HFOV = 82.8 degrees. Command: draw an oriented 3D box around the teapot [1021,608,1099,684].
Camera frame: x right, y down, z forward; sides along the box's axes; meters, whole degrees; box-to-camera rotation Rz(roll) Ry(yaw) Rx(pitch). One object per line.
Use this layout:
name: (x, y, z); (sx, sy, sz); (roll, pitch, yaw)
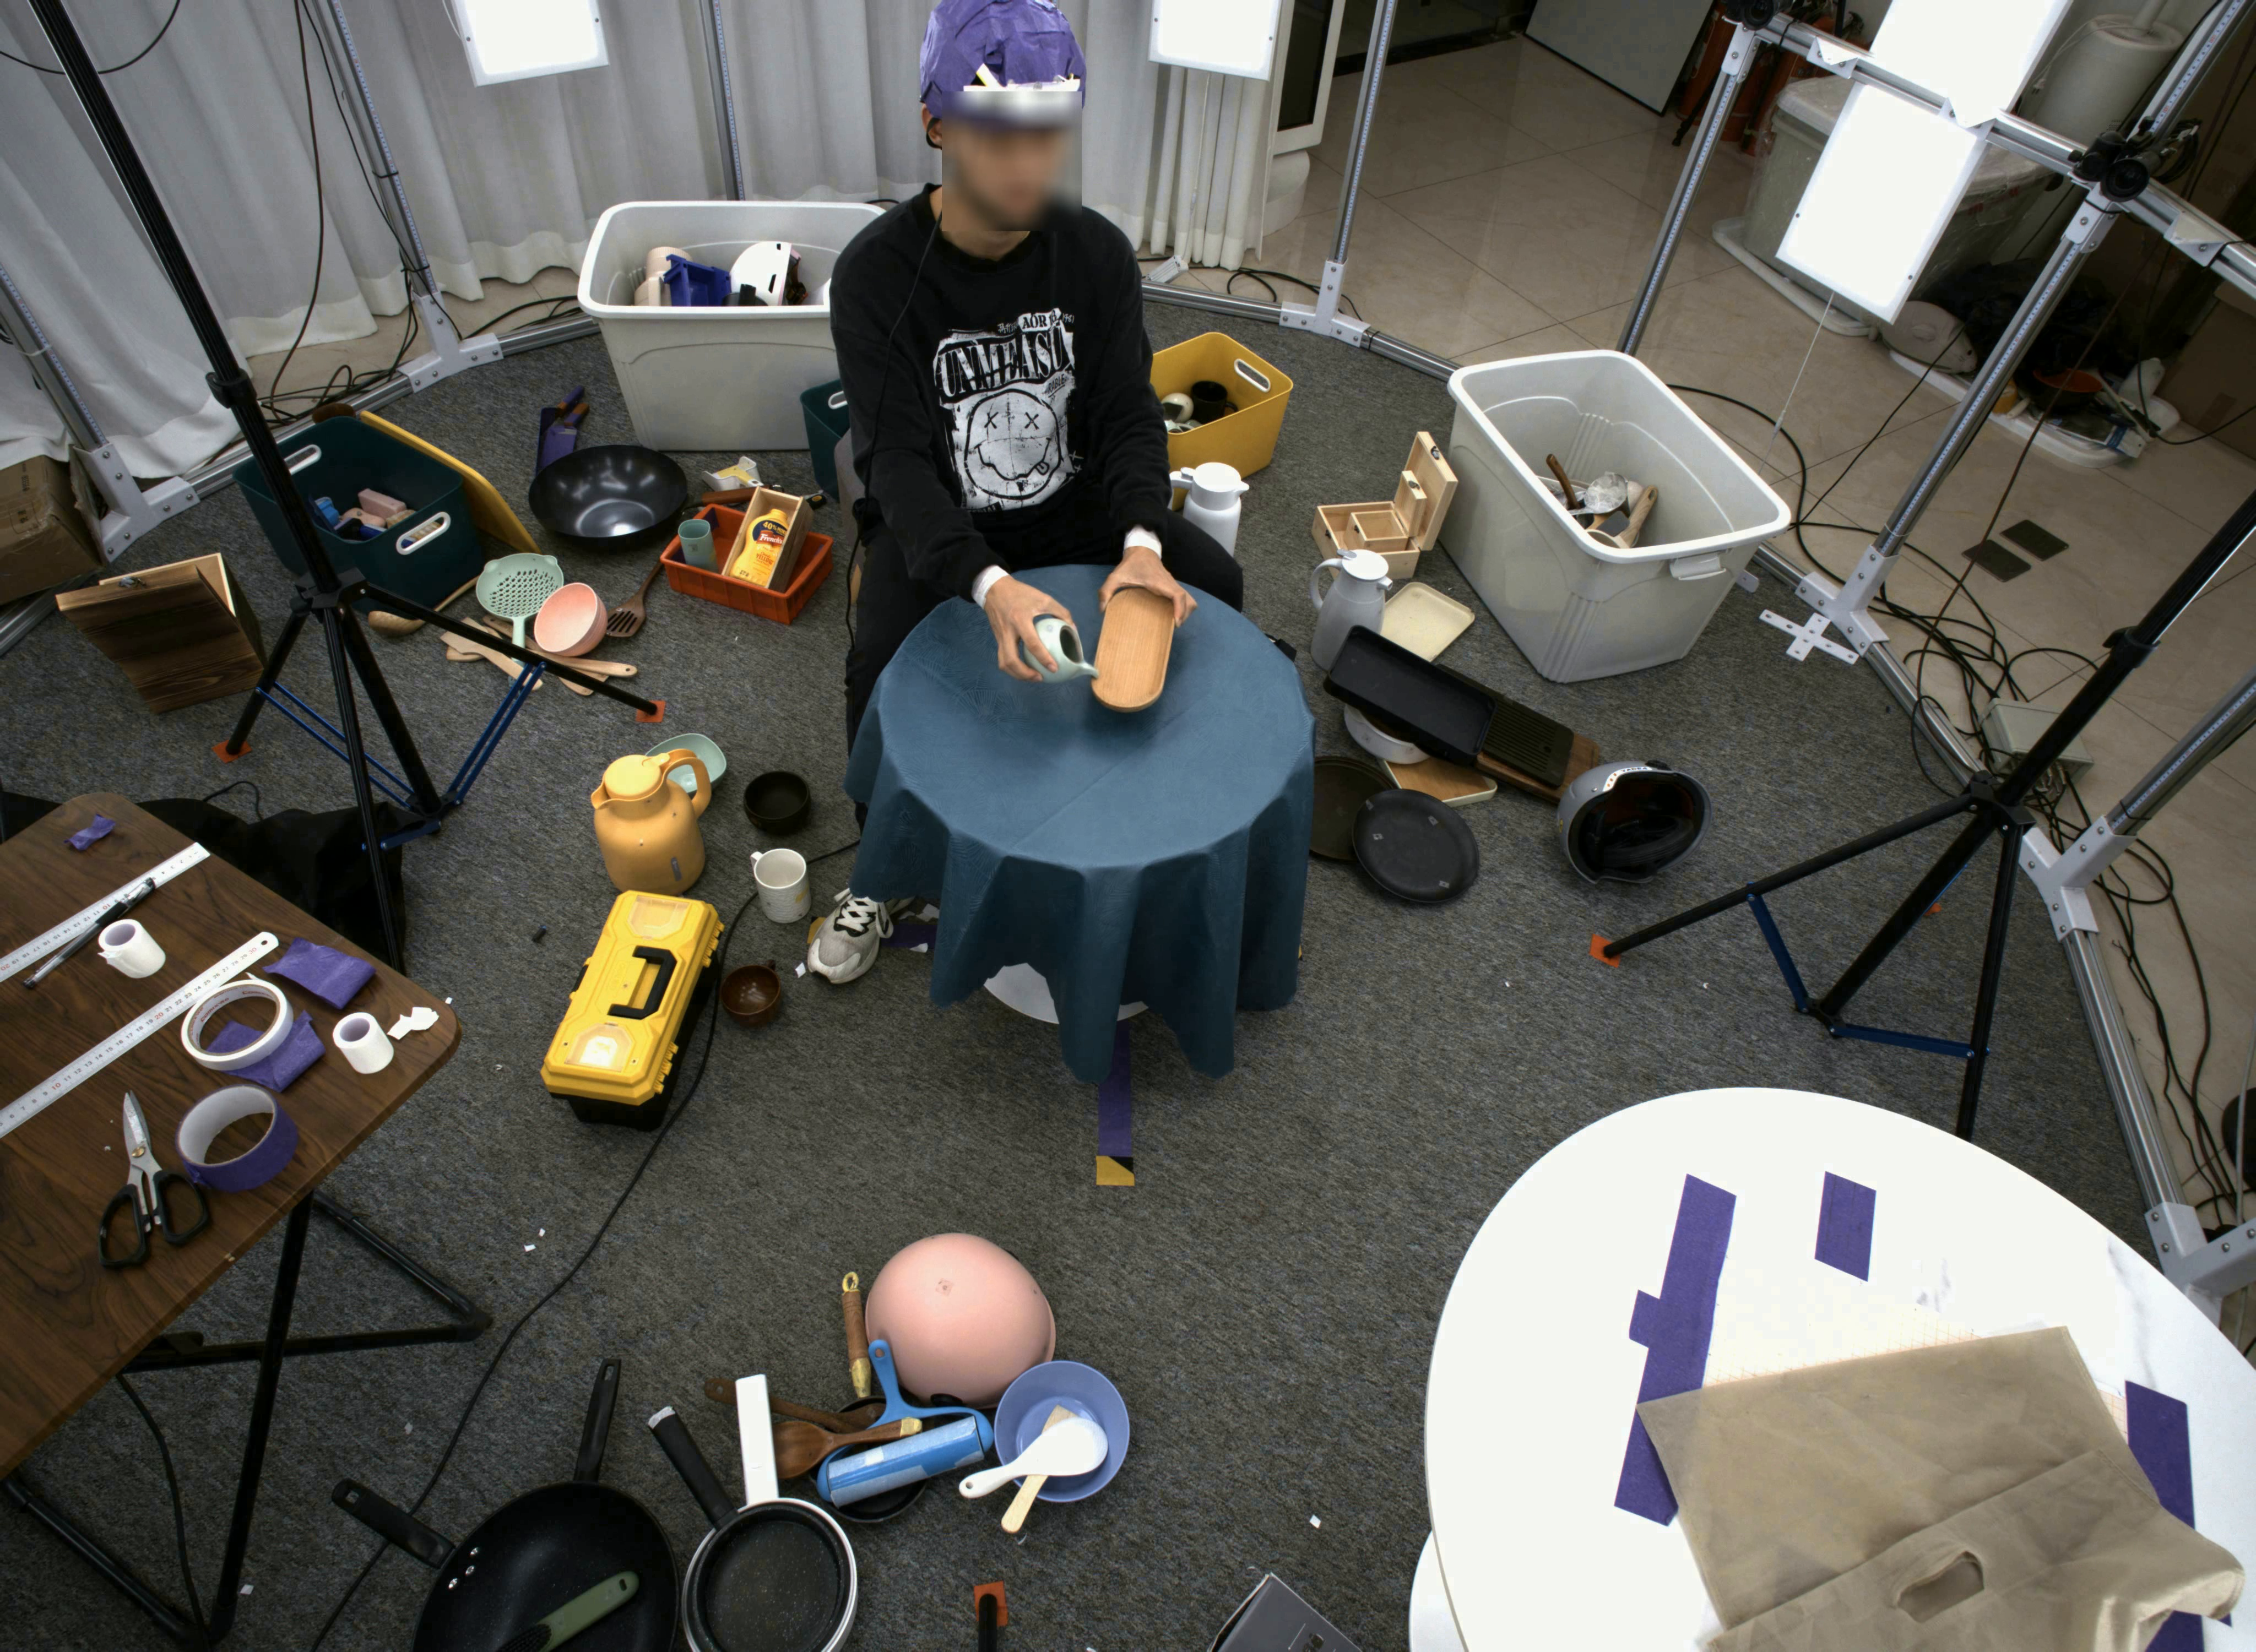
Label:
teapot: (-0.102, -0.237, 1.737); (0.074, 0.141, 0.090); (-16, 45, 26)

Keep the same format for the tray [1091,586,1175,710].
tray: (0.008, -0.253, 1.810); (0.102, 0.020, 0.236); (7, 52, 4)
